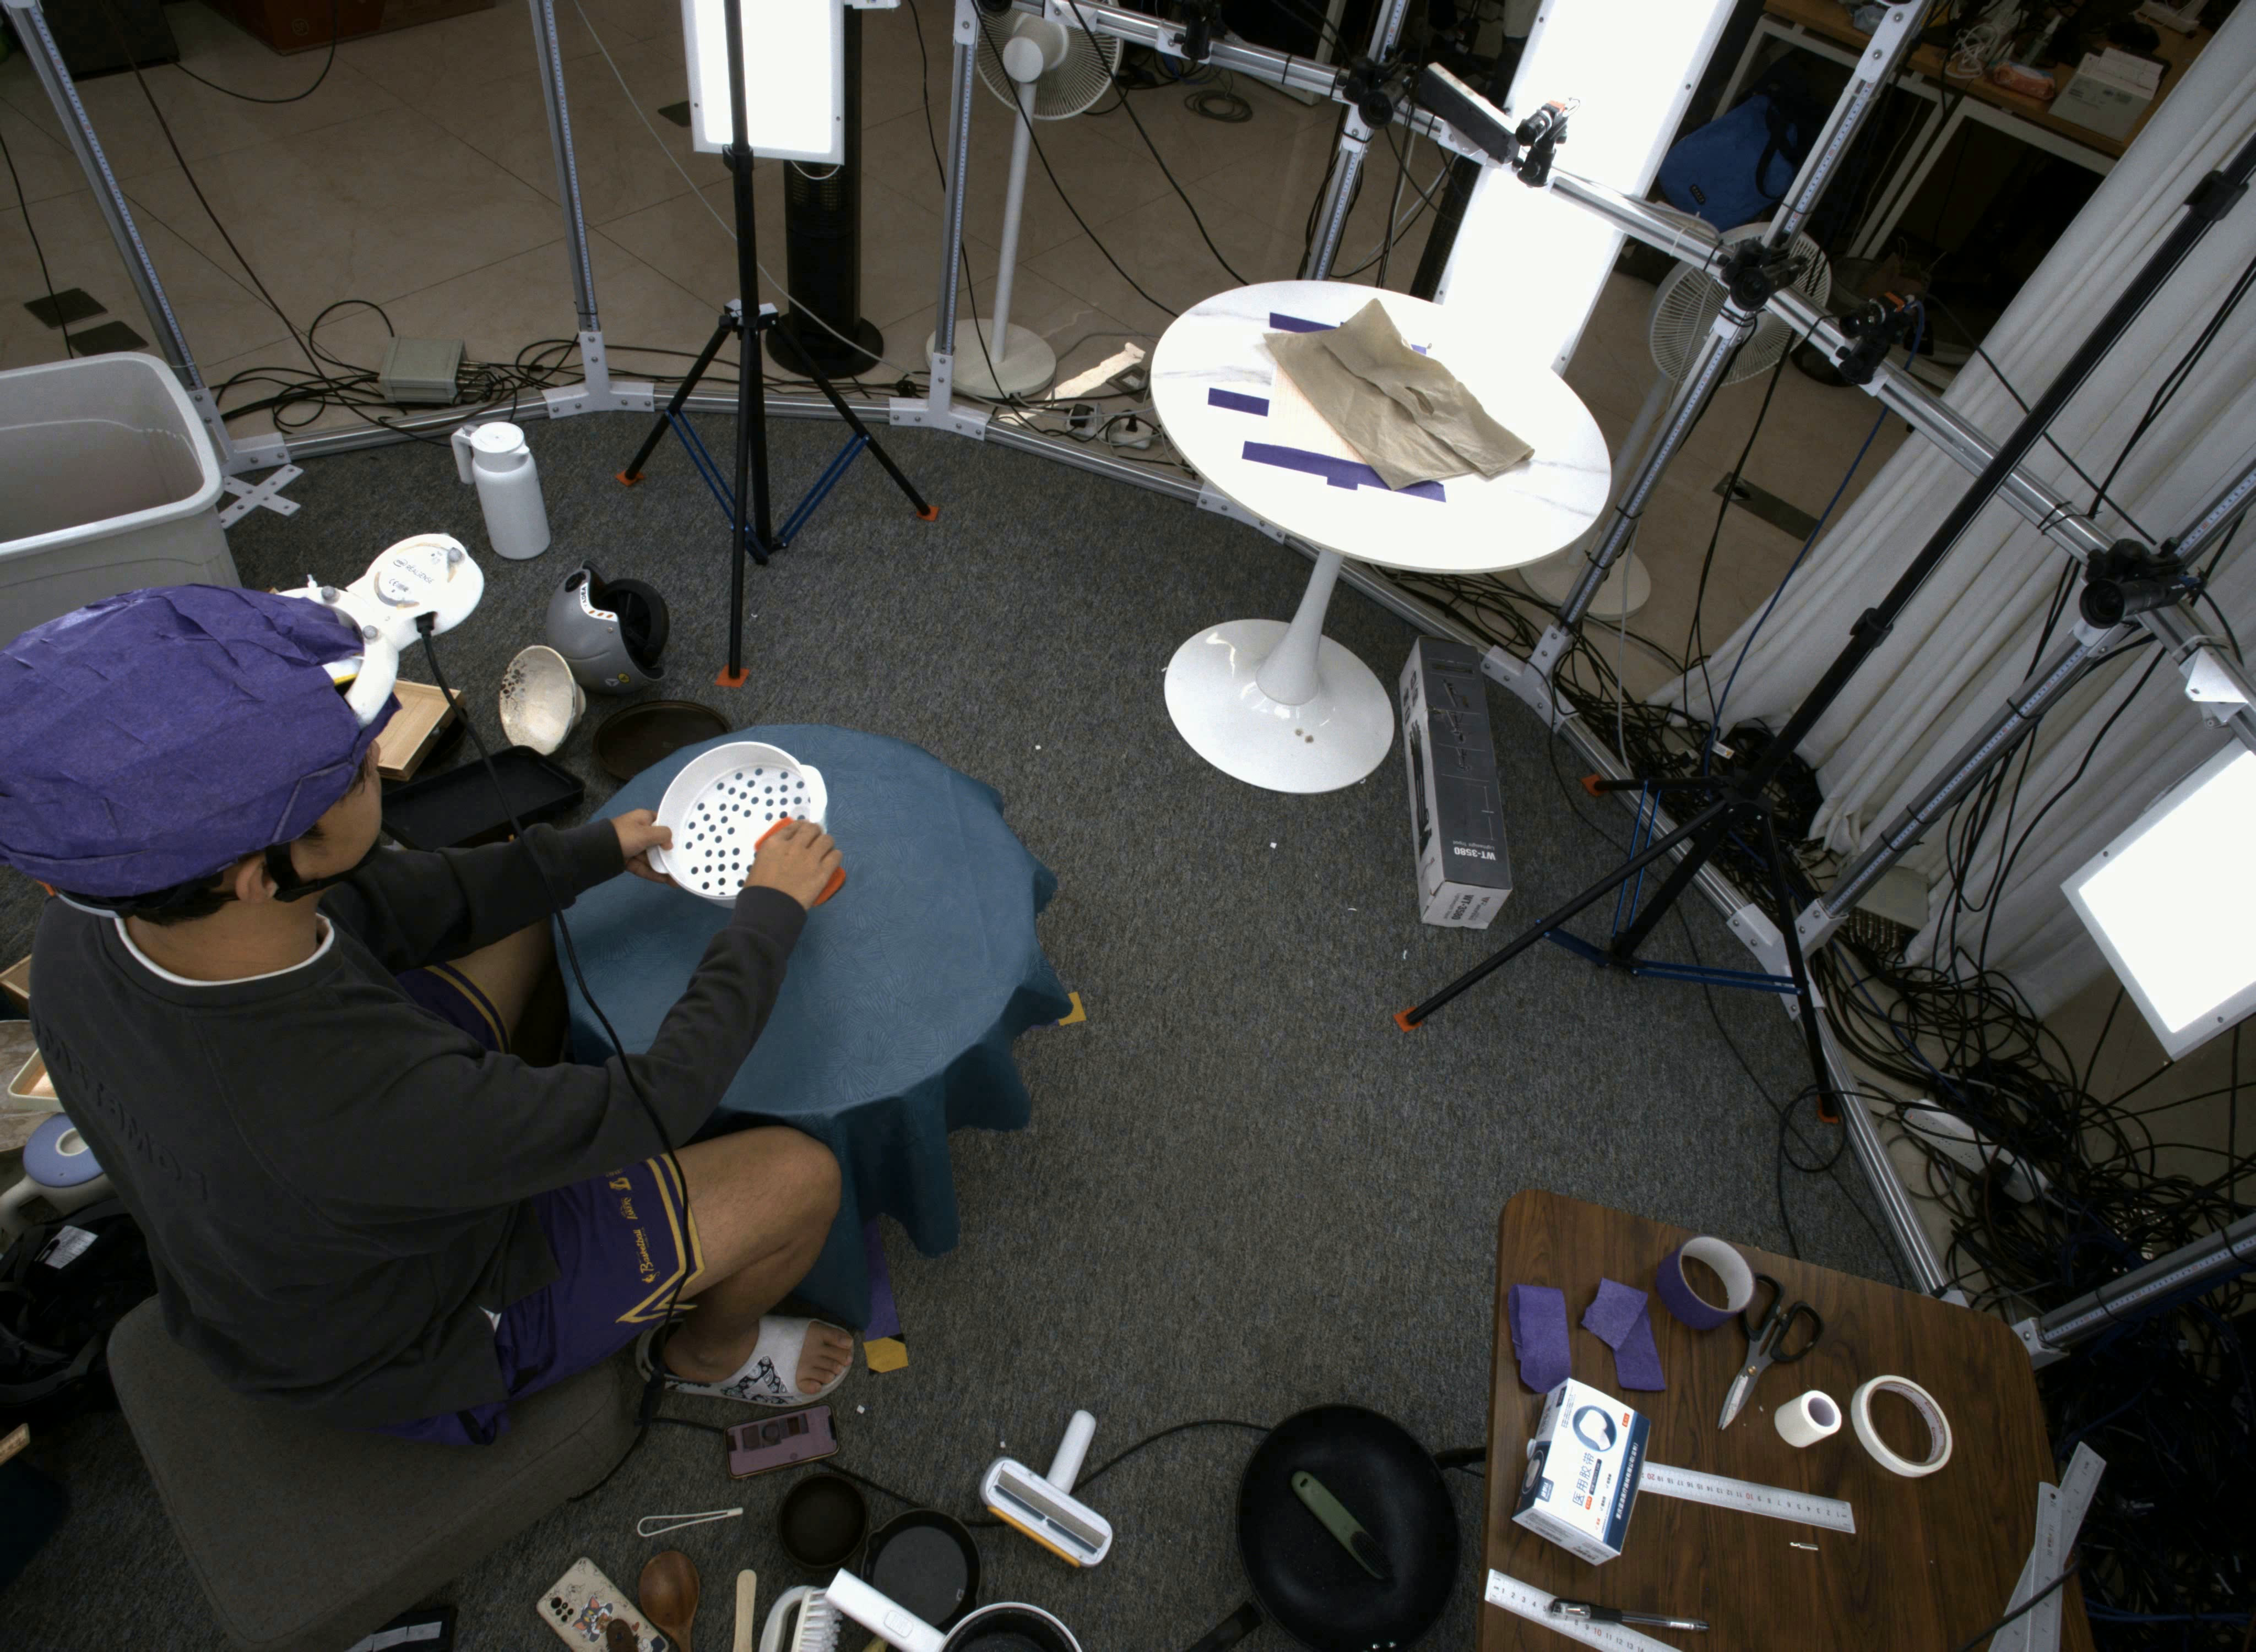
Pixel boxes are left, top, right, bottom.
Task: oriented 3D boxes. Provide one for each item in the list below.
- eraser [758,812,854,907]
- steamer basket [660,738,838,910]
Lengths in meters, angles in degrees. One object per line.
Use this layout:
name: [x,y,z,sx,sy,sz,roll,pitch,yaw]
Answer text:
eraser: [-0.371,0.037,1.492,0.106,0.023,0.059,43,84,10]
steamer basket: [-0.452,-0.002,1.572,0.228,0.070,0.200,-22,74,3]
